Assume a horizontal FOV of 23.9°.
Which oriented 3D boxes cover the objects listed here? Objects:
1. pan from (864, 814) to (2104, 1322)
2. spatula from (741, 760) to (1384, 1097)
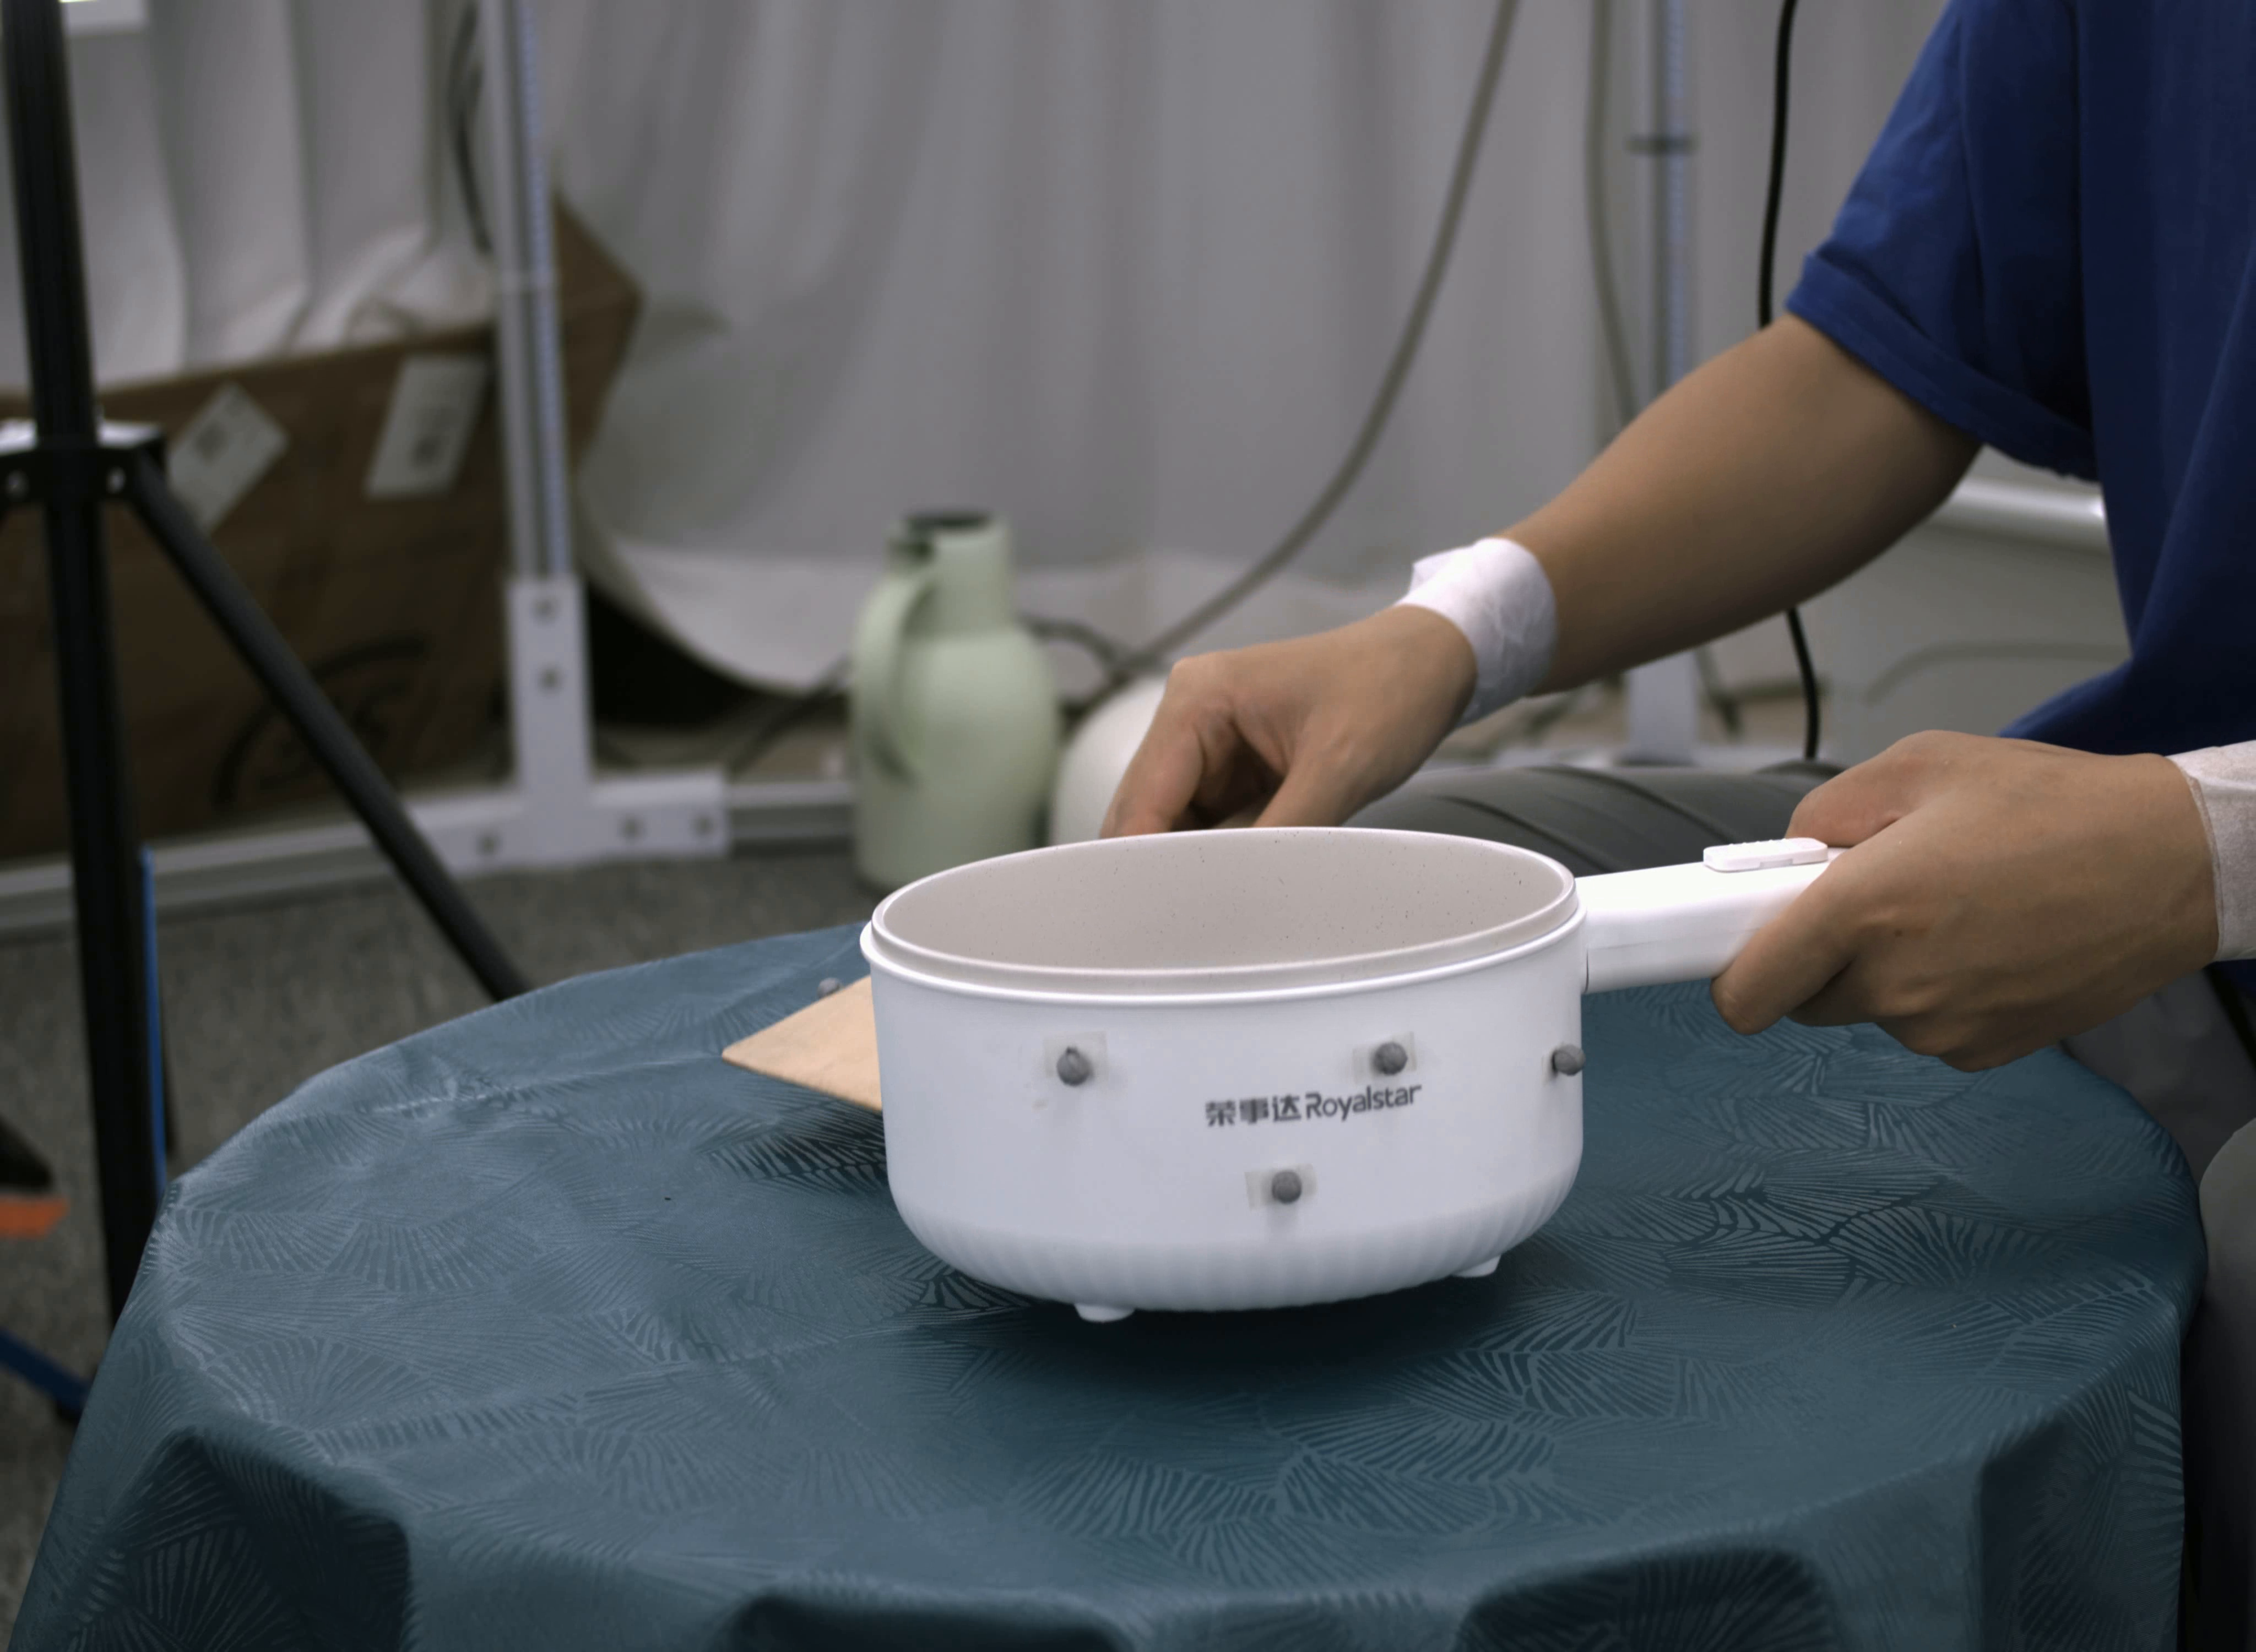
[{"bbox_3d":[0.103,0.062,1.485,0.350,0.102,0.203,-6,9,-12],"label":"pan"},{"bbox_3d":[-0.008,0.028,1.695,0.074,0.010,0.287,13,27,35],"label":"spatula"}]
